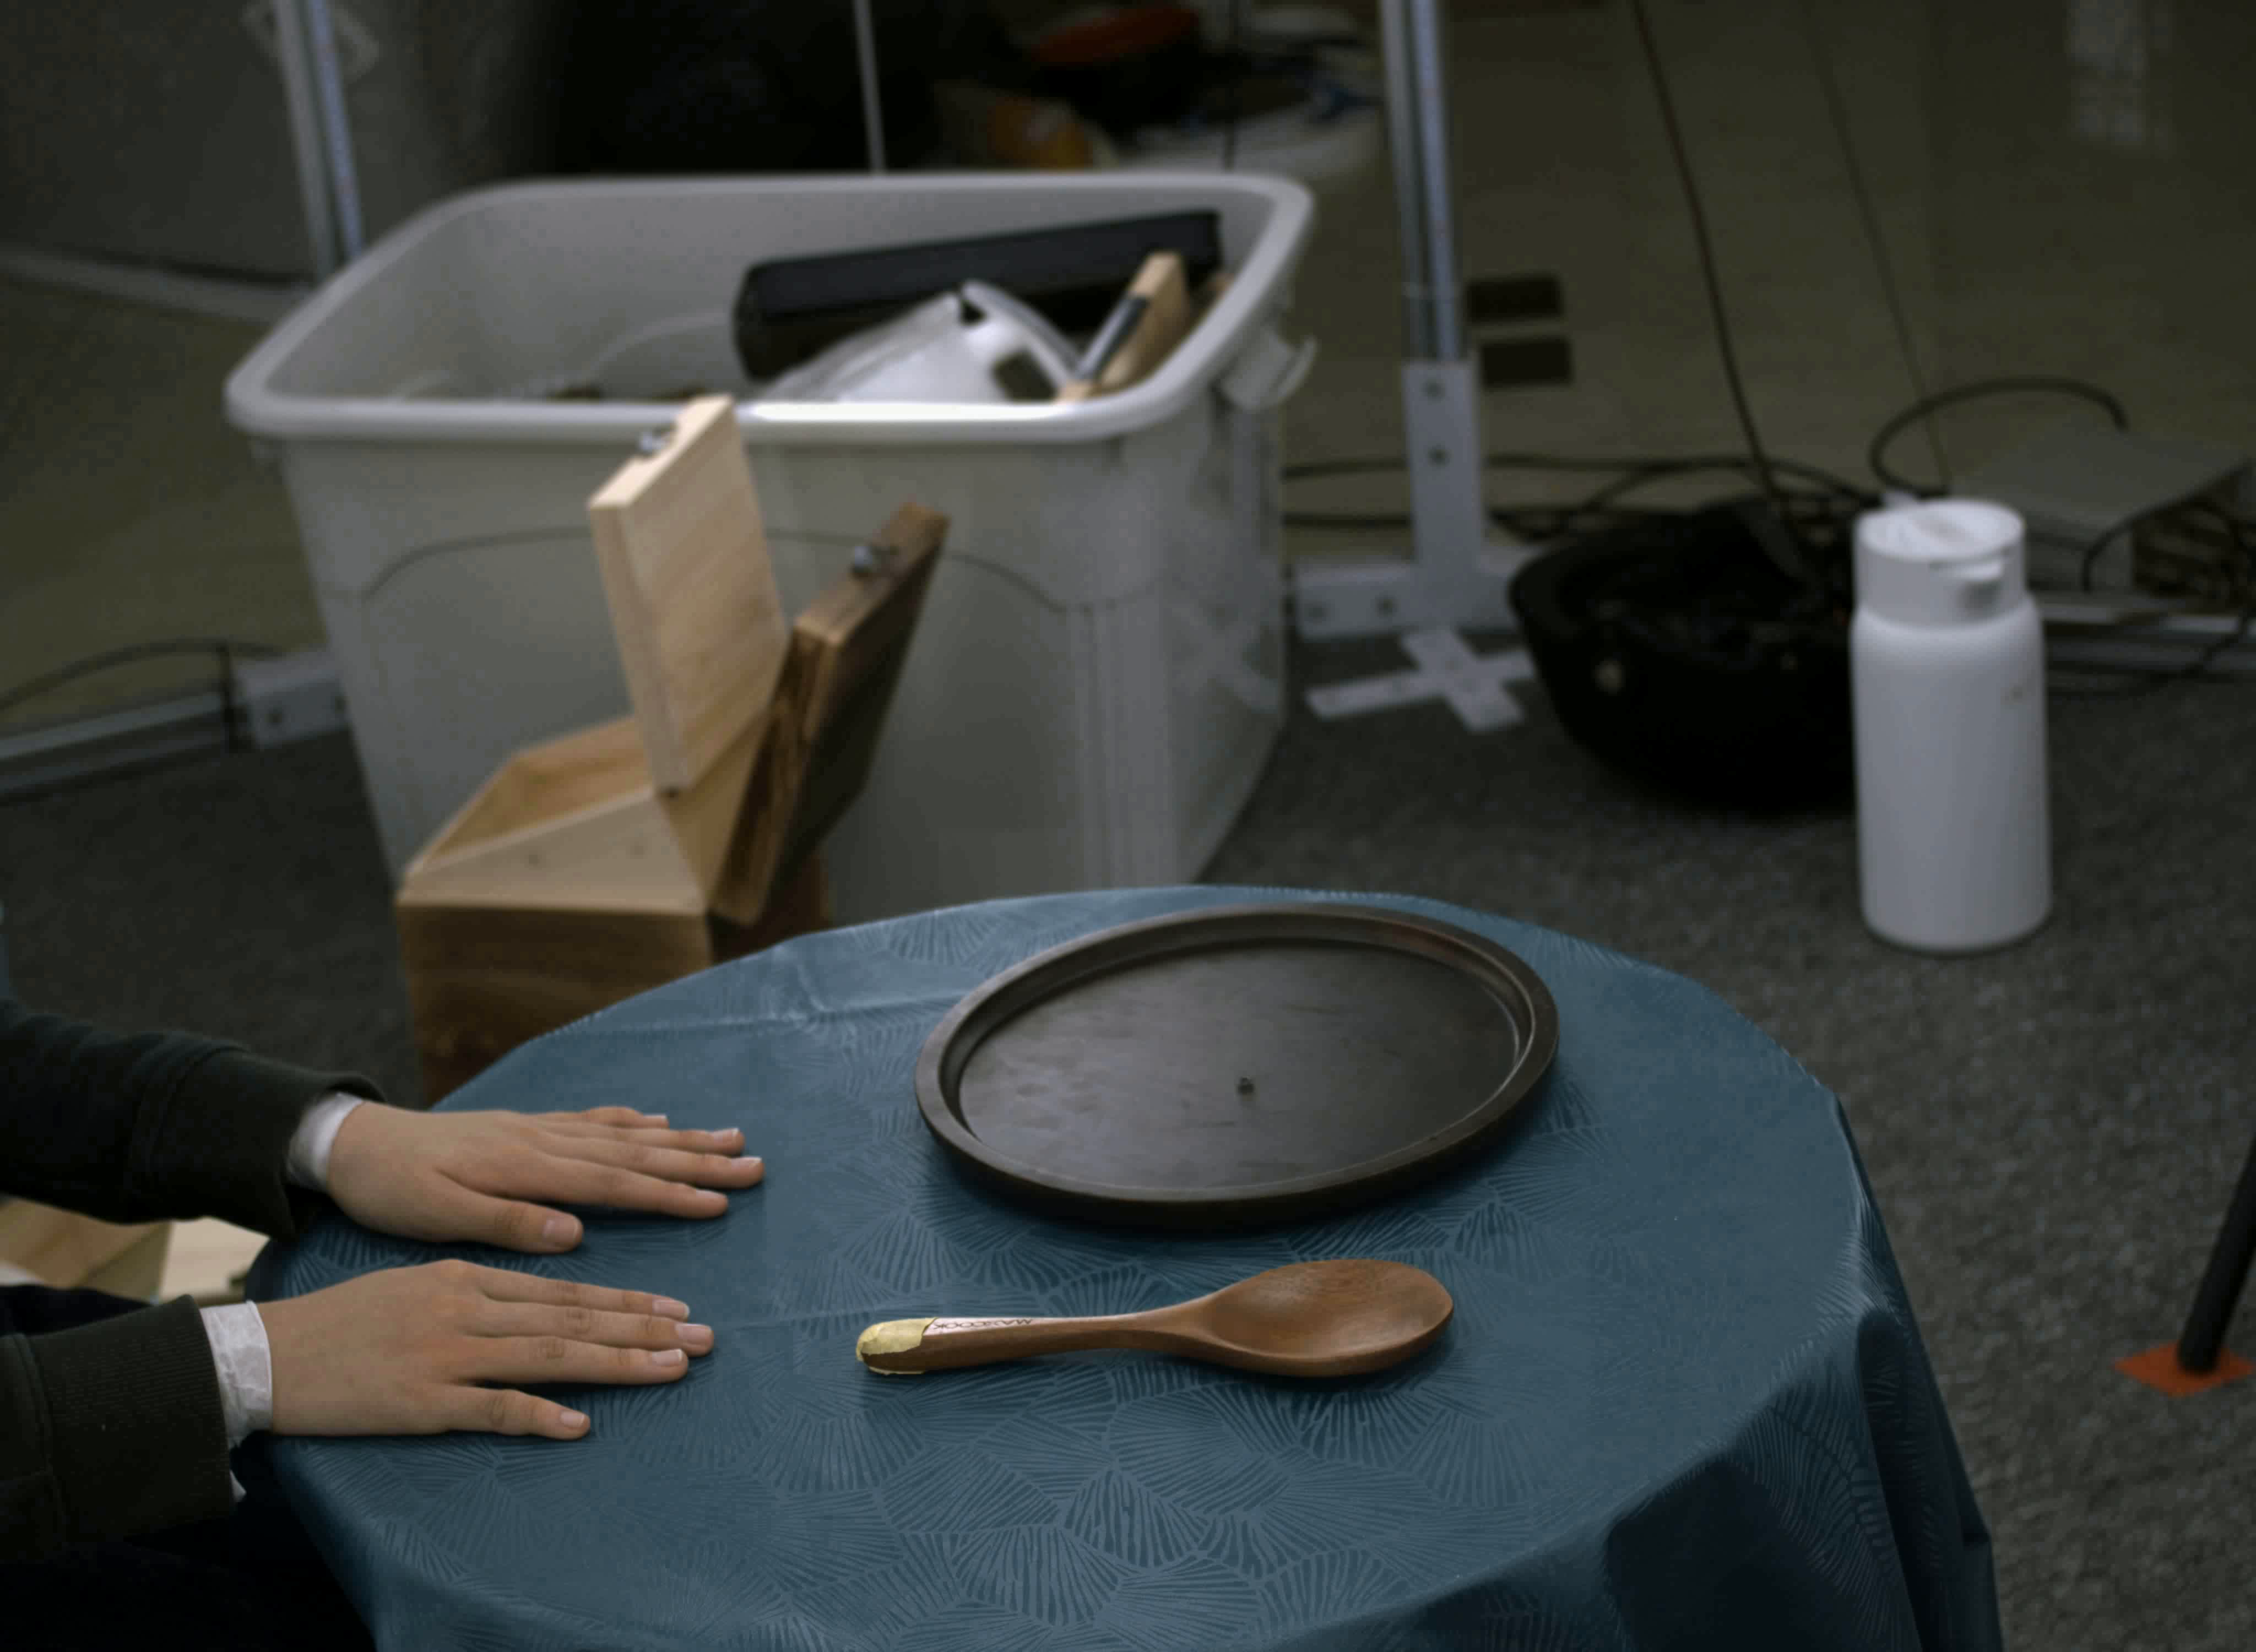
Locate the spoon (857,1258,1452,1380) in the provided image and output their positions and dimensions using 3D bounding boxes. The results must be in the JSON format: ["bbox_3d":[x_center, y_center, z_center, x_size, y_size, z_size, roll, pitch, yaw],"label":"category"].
[{"bbox_3d":[0.009,0.182,2.038,0.215,0.017,0.074,-3,25,7],"label":"spoon"}]

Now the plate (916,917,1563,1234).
[{"bbox_3d":[0.043,0.095,2.211,0.254,0.029,0.251,-4,24,2],"label":"plate"}]
